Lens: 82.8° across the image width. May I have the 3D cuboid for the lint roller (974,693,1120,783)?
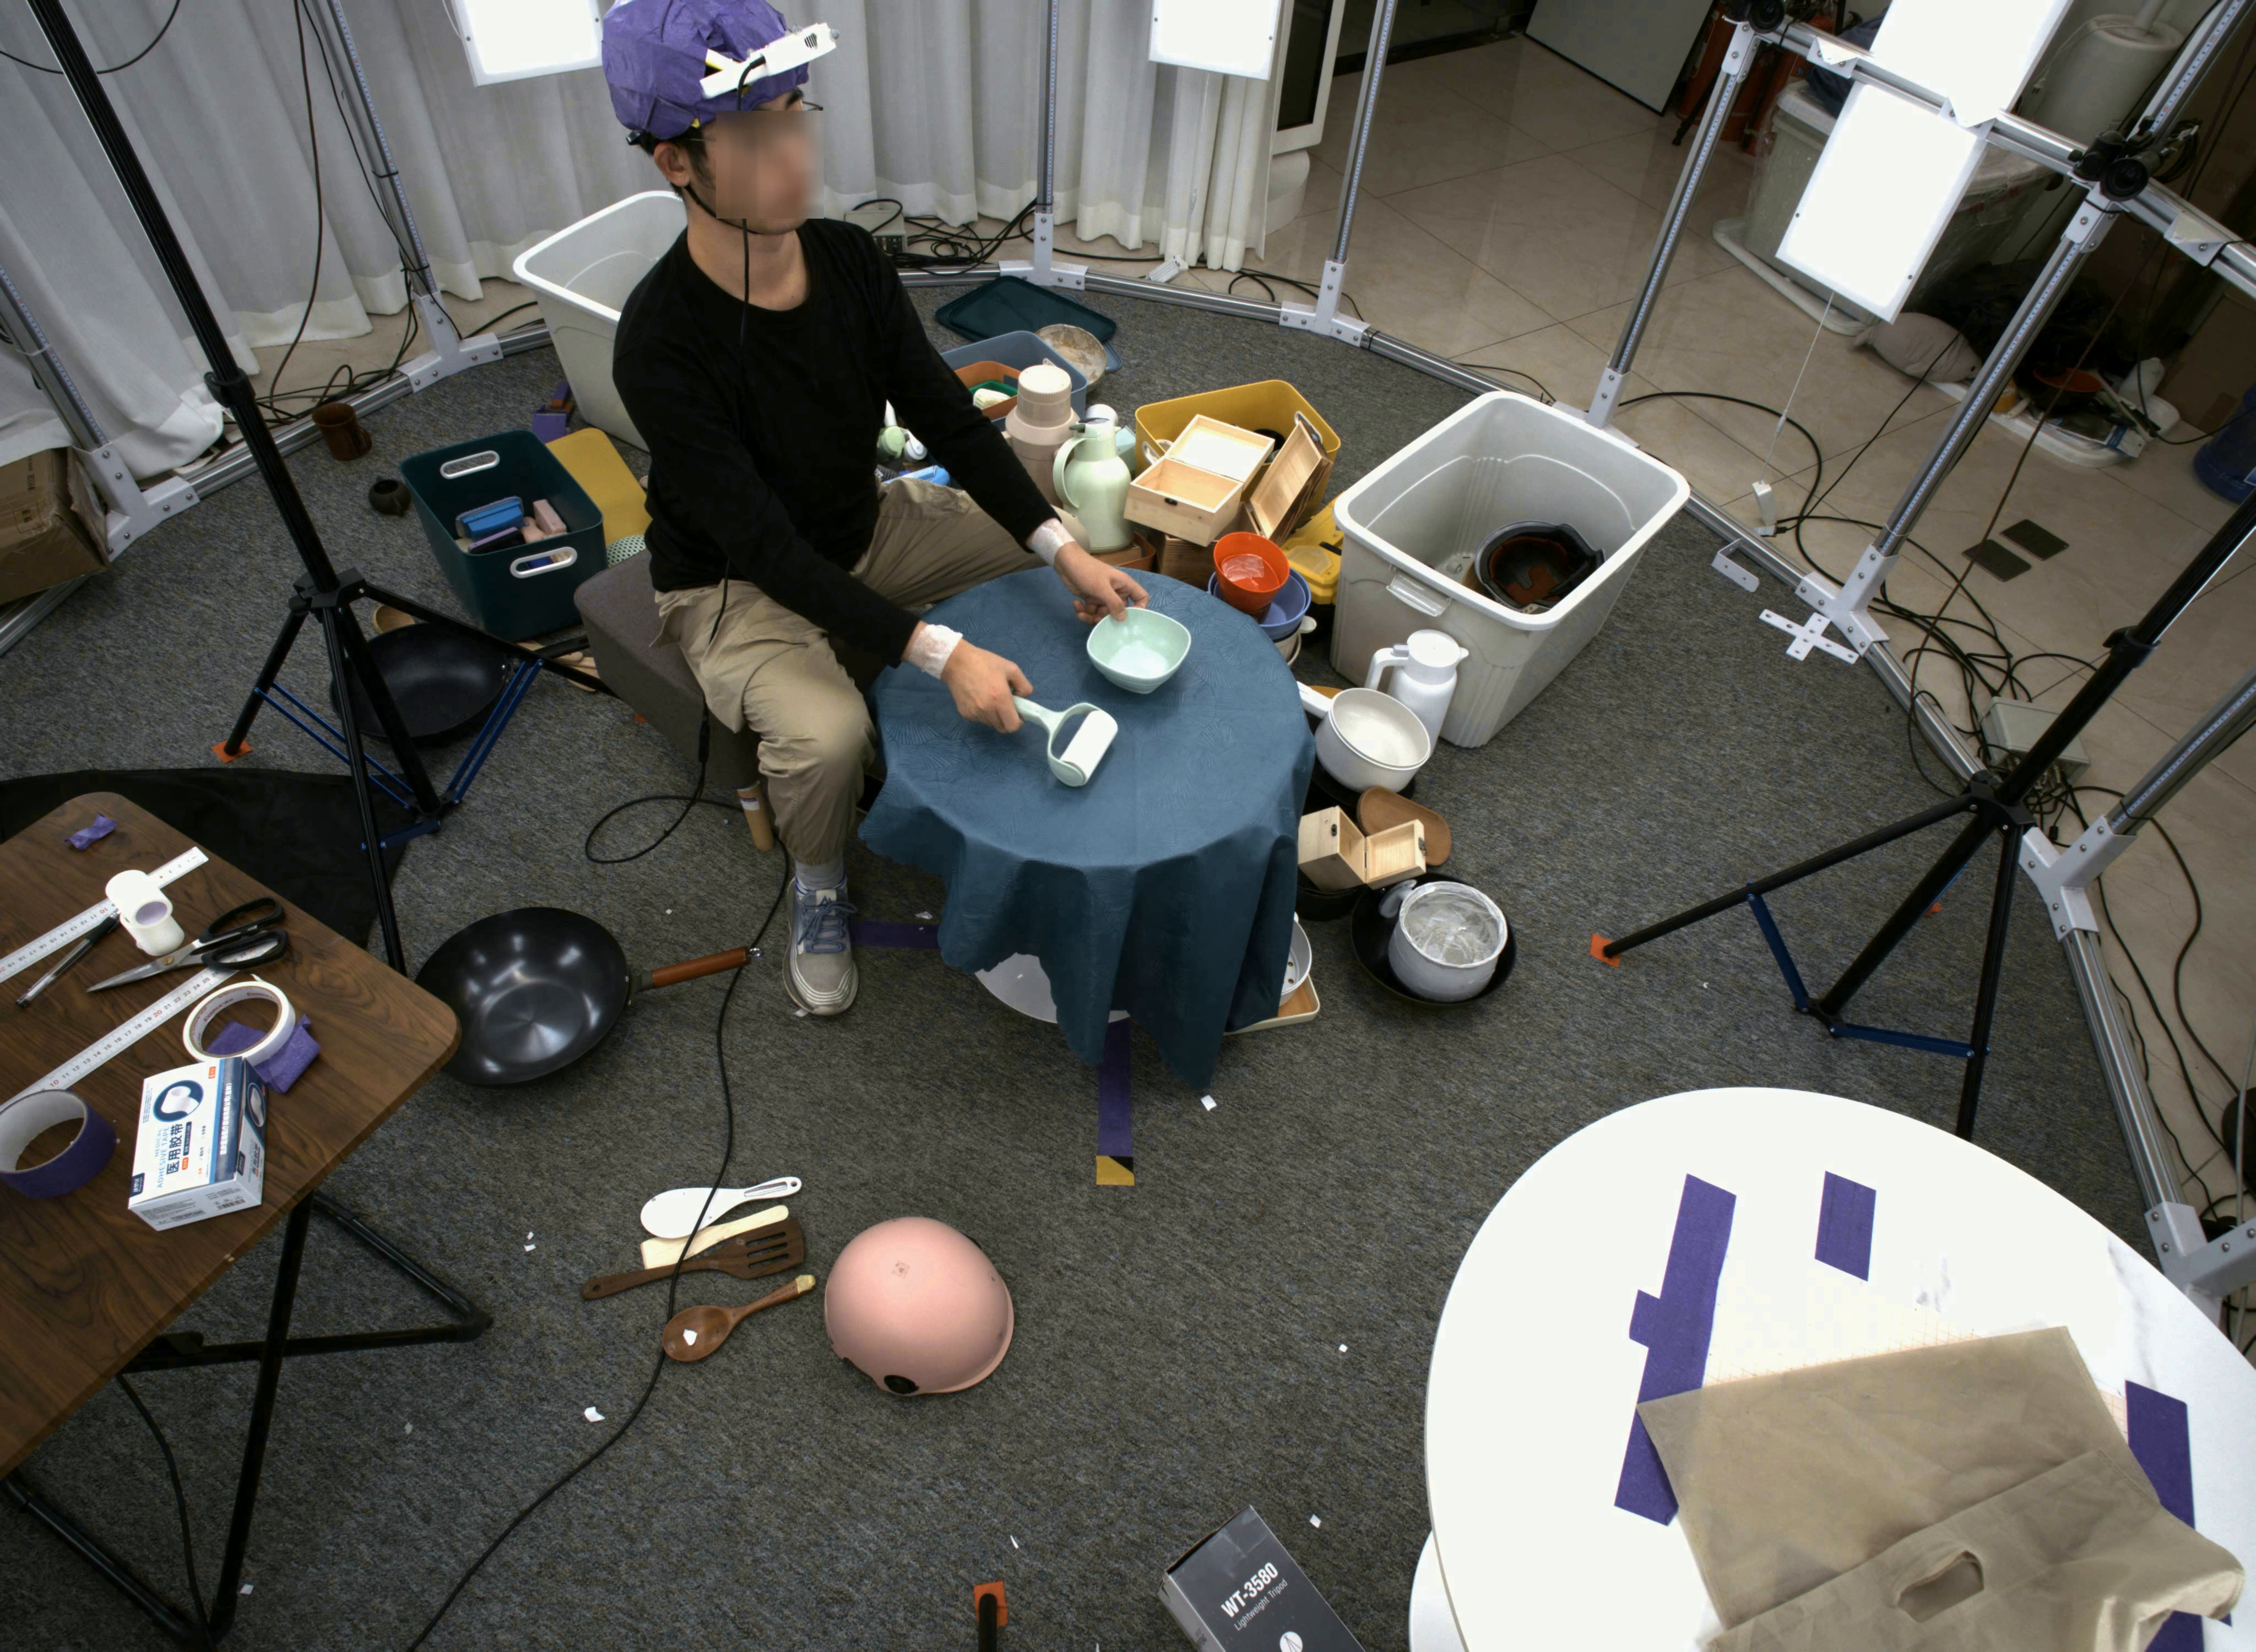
[{"bbox_3d":[-0.115,-0.143,1.735,0.198,0.047,0.119,27,54,4],"label":"lint roller"}]

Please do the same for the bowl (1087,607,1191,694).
[{"bbox_3d":[0.014,-0.244,1.846,0.151,0.057,0.155,2,50,-2],"label":"bowl"}]
